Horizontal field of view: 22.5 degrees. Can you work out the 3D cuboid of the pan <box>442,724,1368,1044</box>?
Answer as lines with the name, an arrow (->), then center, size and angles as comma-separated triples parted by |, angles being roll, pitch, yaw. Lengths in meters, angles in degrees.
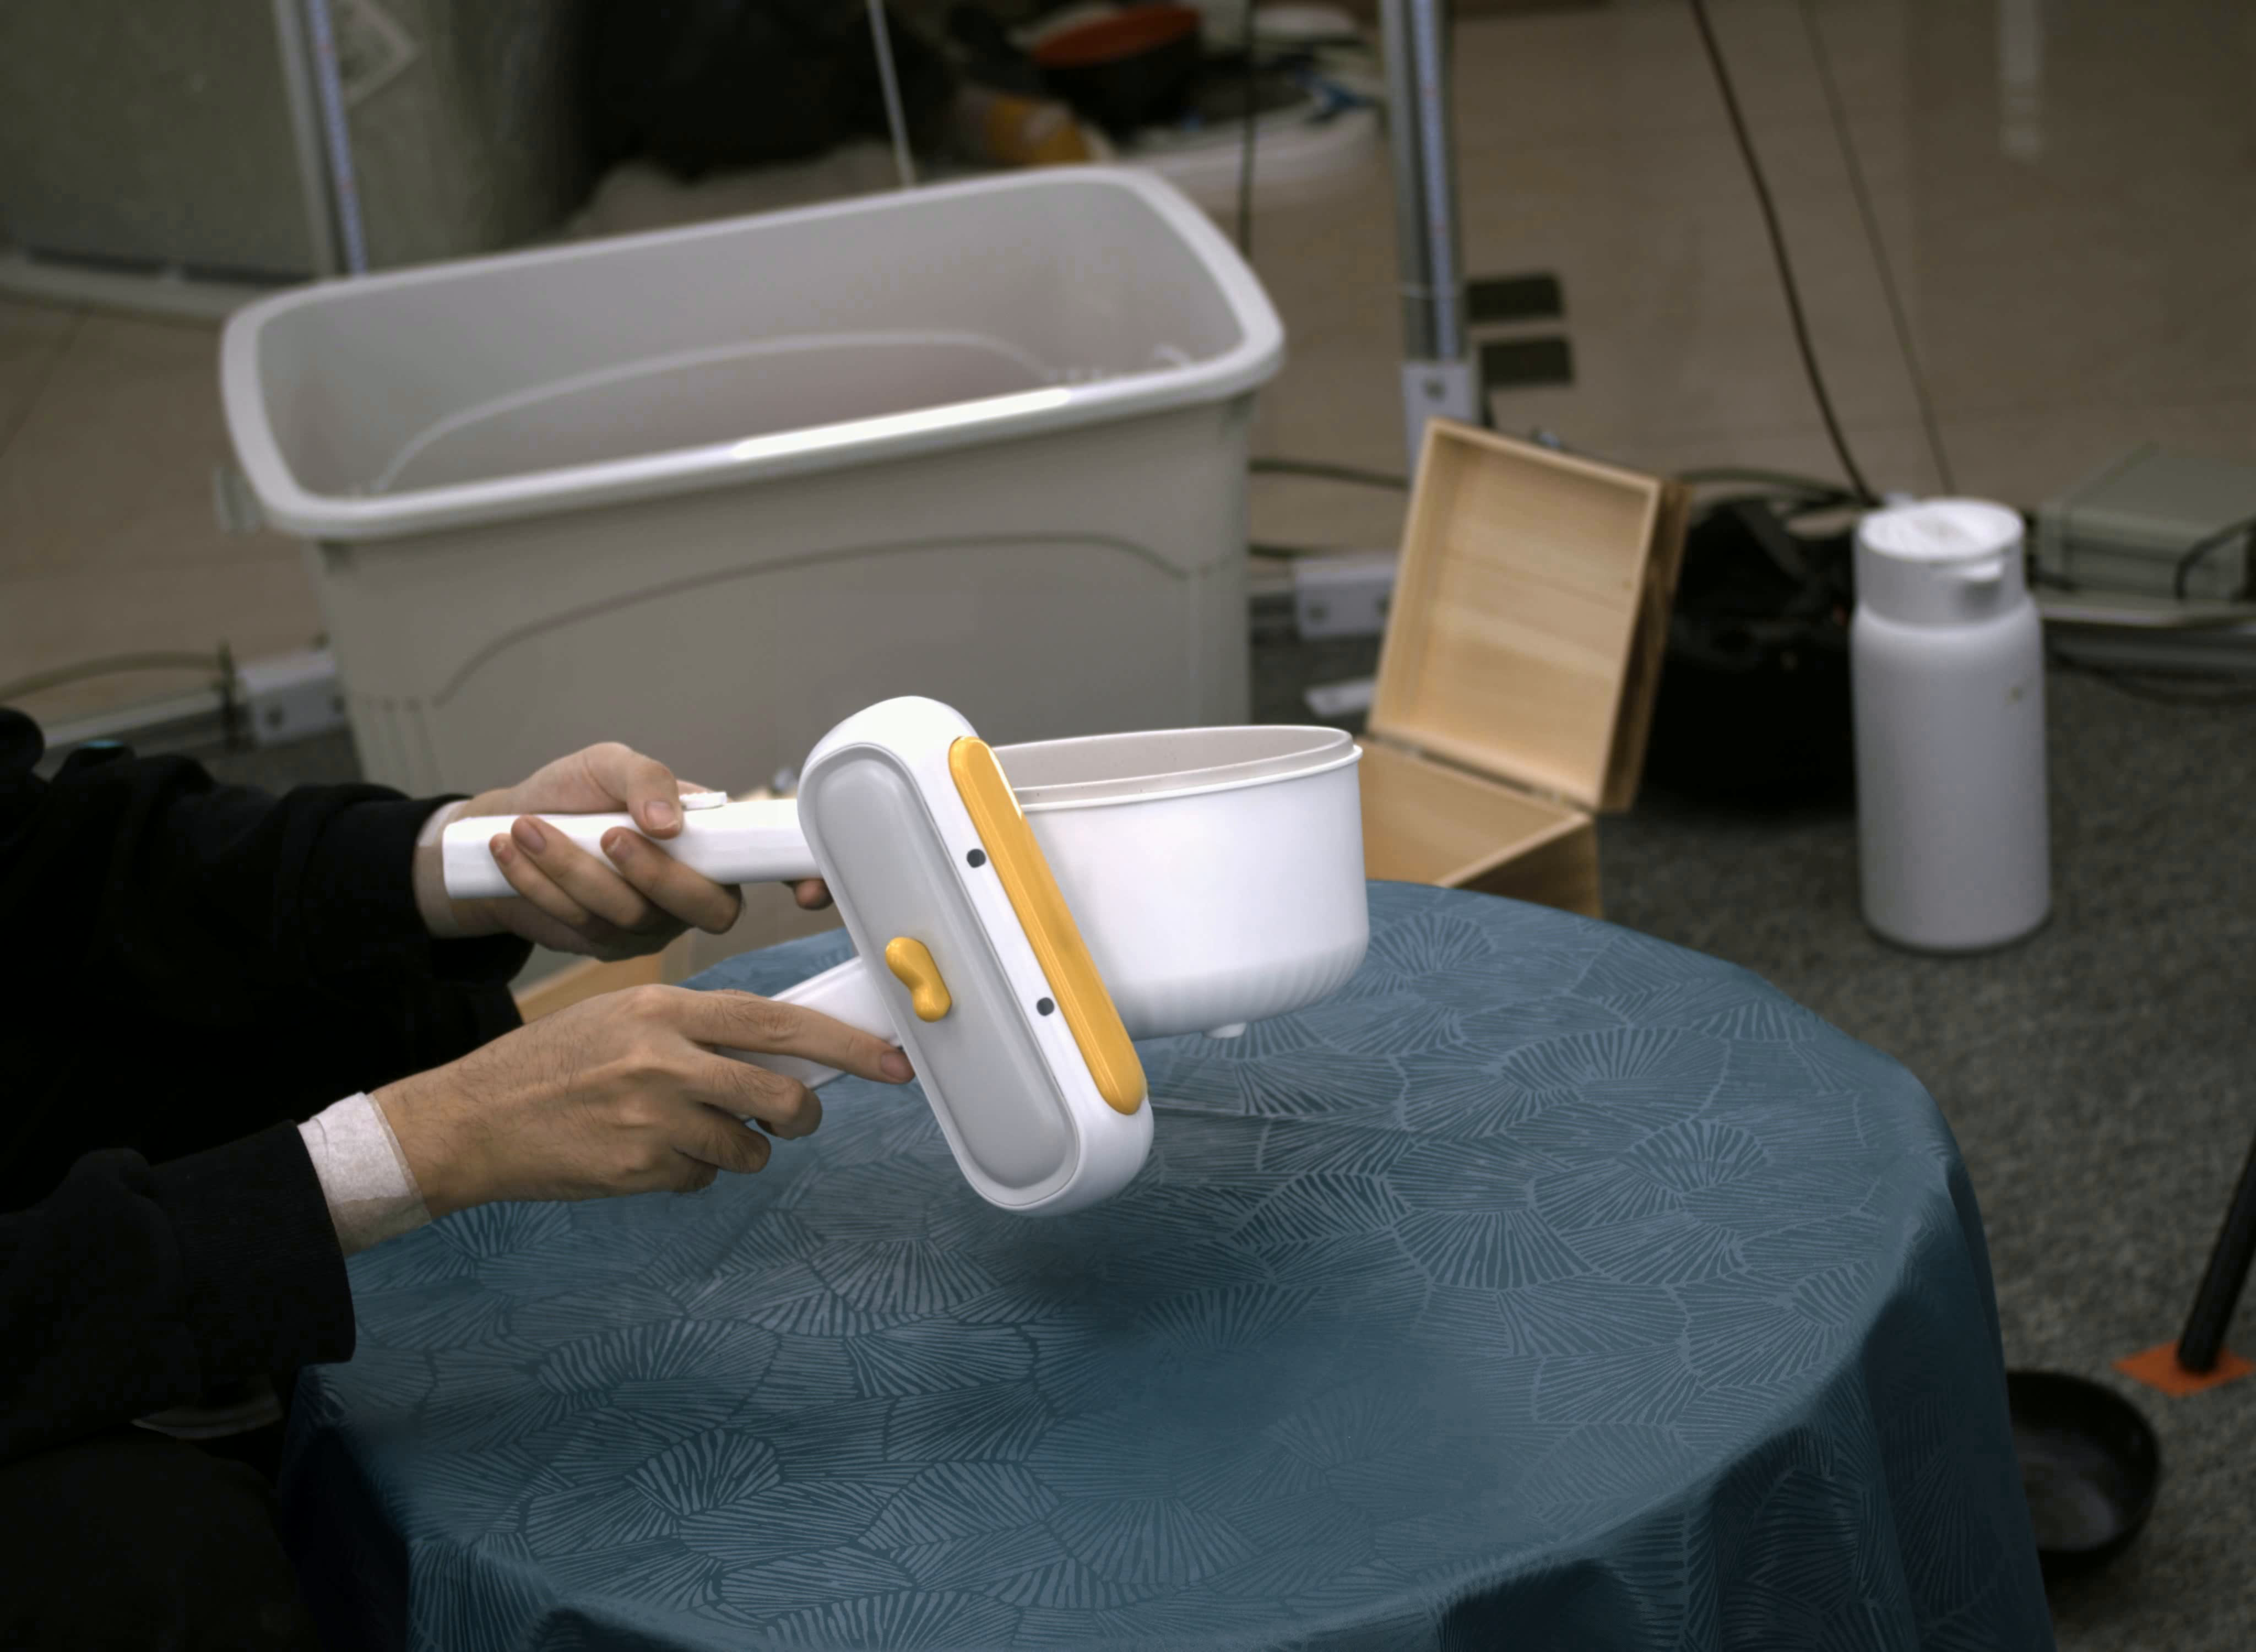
pan -> -0.083, 0.031, 2.134 | 0.354, 0.103, 0.200 | -5, 7, 14

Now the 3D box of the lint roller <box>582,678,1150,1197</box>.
lint roller -> -0.108, 0.068, 2.020 | 0.193, 0.193, 0.073 | -29, 4, 24
